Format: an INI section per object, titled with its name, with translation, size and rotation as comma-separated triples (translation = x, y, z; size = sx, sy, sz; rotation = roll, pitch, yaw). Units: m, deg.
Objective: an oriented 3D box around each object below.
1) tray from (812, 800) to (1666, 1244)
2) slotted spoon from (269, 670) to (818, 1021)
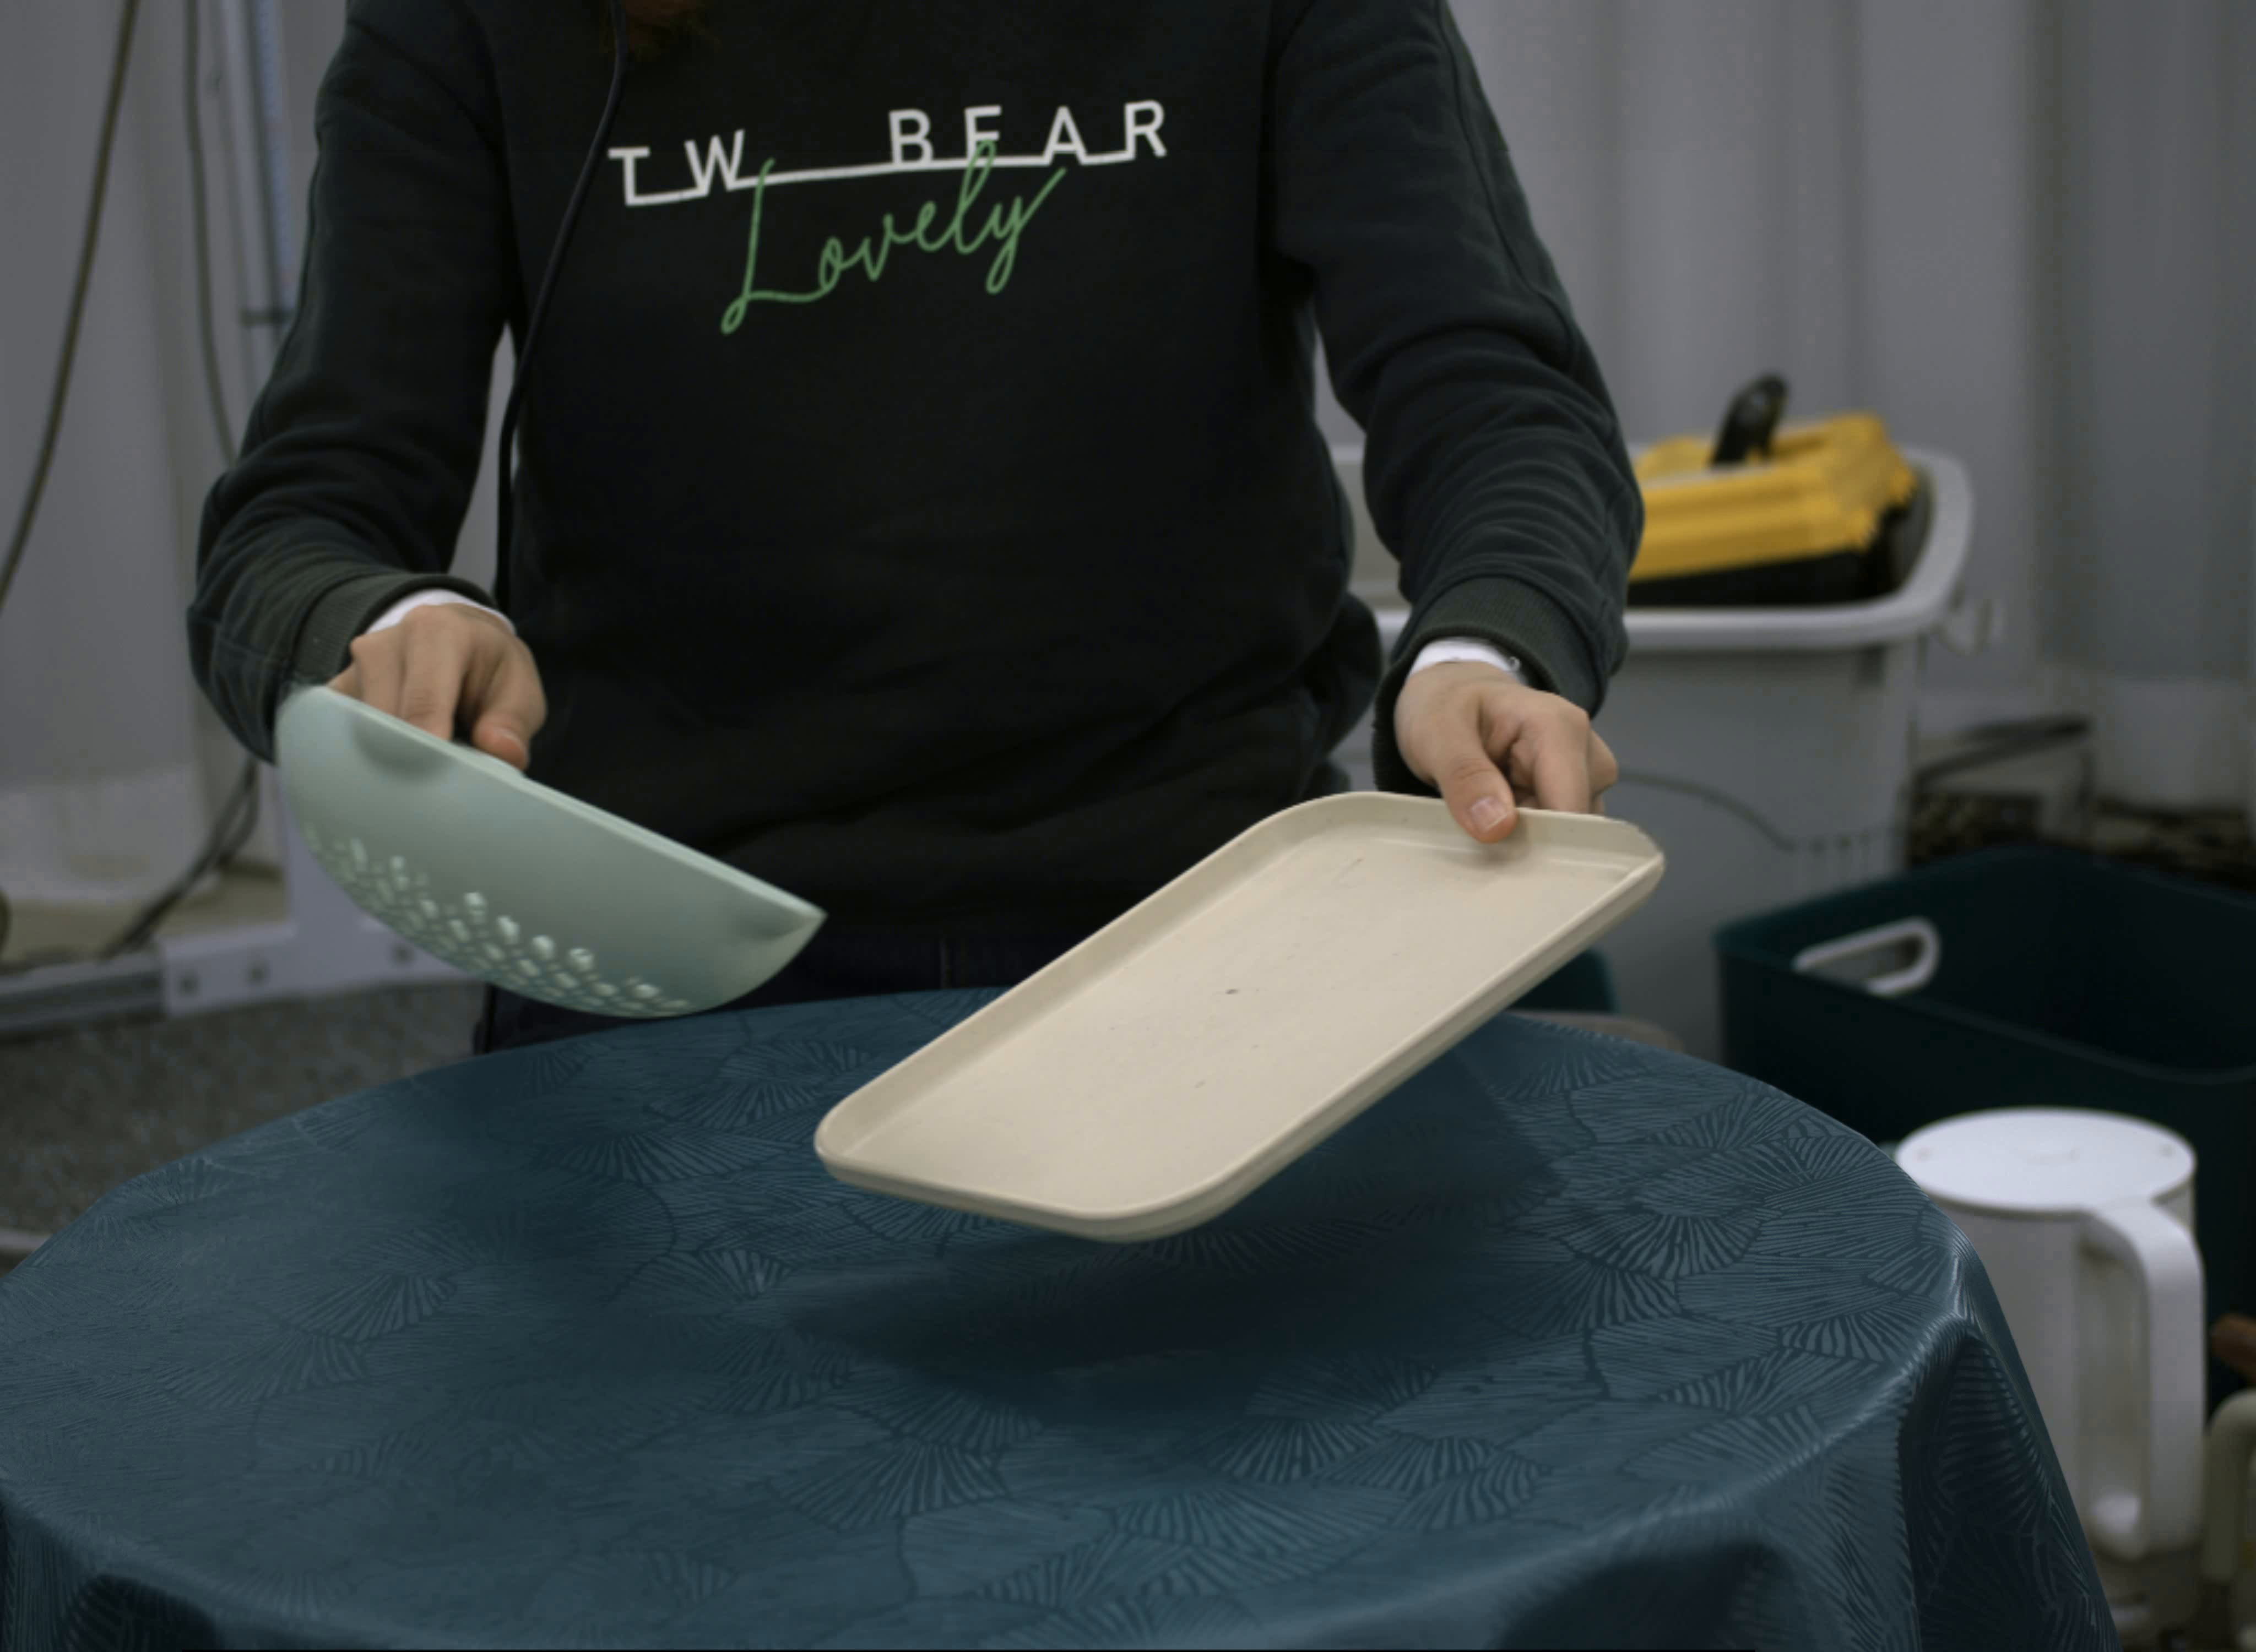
[tray]
translation = 0.035, 0.056, 1.611
size = 0.240, 0.017, 0.172
rotation = -33, 25, -35
[slotted spoon]
translation = -0.195, -0.005, 1.661
size = 0.168, 0.075, 0.361
rotation = 27, 5, -15
